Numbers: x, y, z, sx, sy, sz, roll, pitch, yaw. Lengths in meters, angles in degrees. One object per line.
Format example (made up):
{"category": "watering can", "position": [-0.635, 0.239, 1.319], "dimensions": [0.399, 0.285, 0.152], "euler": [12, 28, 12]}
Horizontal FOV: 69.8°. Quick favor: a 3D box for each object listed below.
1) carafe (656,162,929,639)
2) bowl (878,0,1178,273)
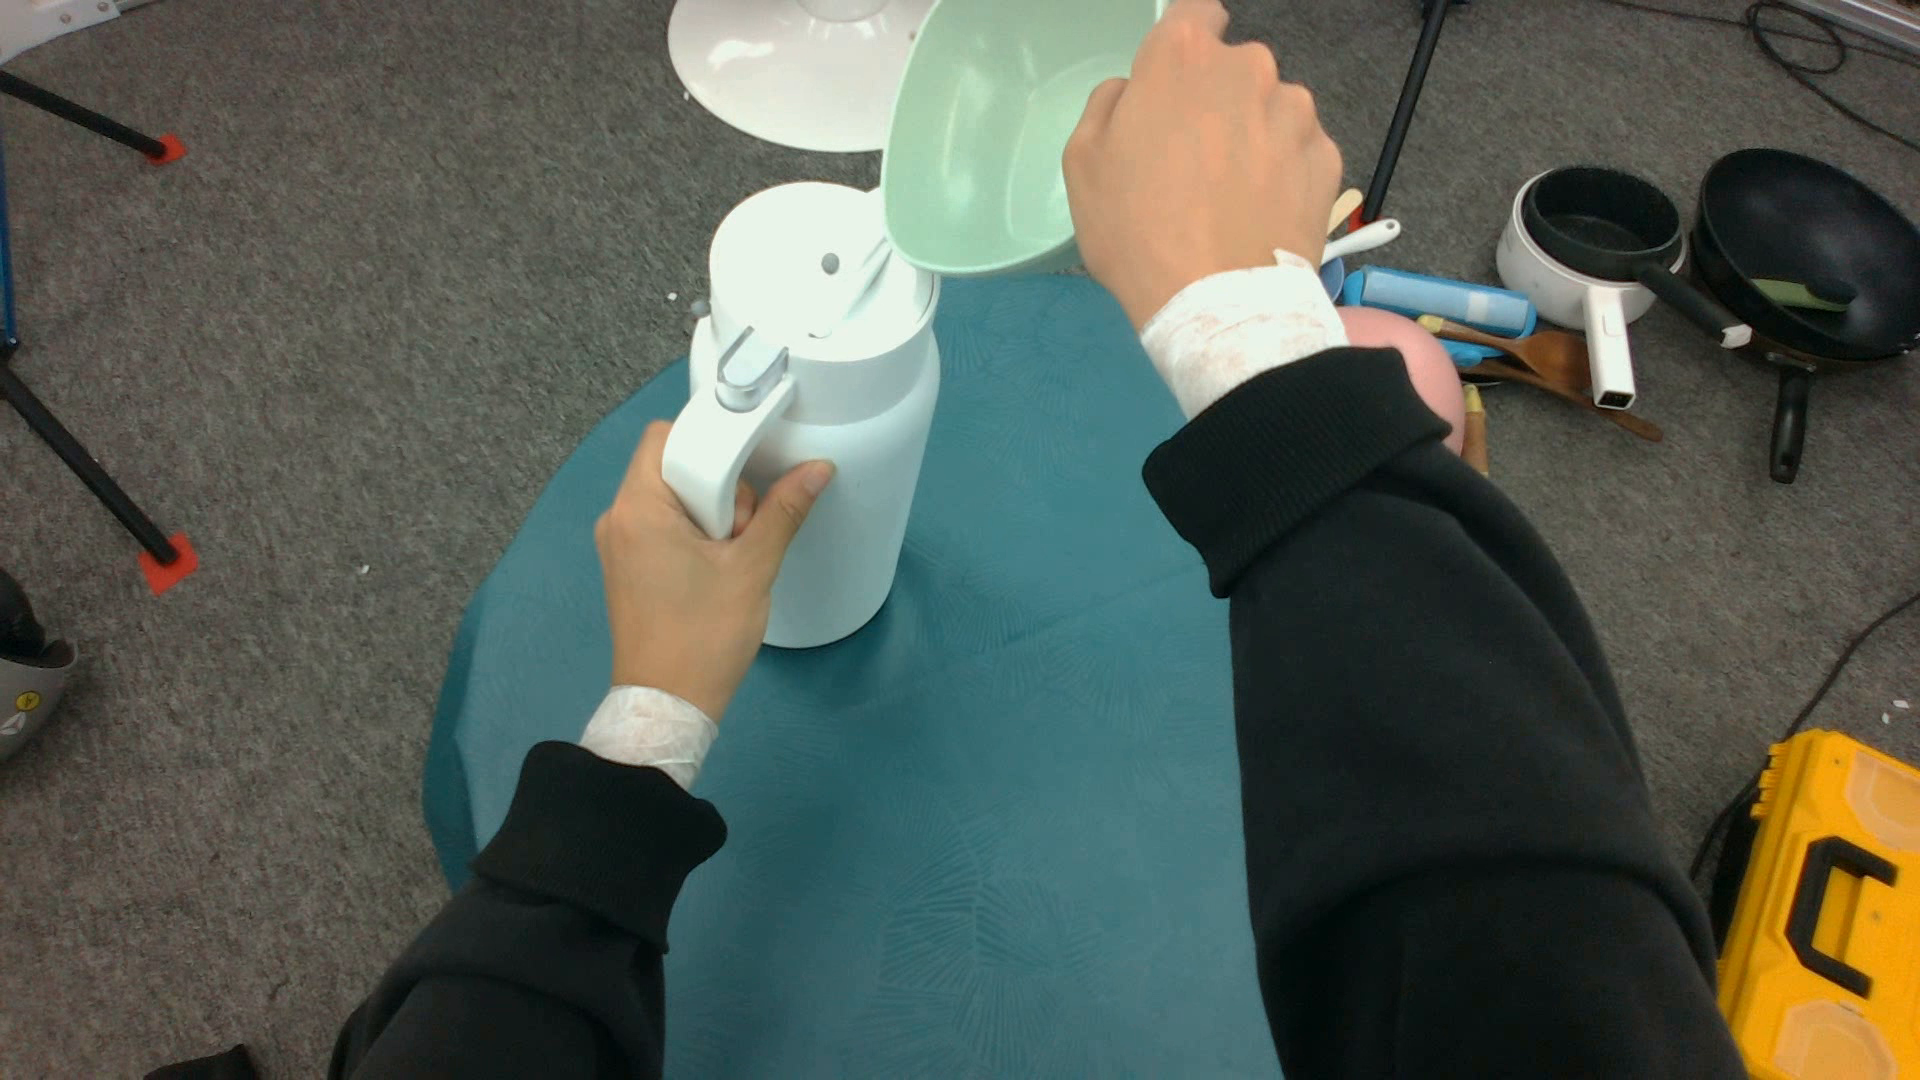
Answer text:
{"category": "carafe", "position": [-0.090, -0.043, 0.689], "dimensions": [0.124, 0.267, 0.173], "euler": [29, 59, 3]}
{"category": "bowl", "position": [0.036, -0.168, 0.560], "dimensions": [0.059, 0.151, 0.152], "euler": [16, 43, -46]}
